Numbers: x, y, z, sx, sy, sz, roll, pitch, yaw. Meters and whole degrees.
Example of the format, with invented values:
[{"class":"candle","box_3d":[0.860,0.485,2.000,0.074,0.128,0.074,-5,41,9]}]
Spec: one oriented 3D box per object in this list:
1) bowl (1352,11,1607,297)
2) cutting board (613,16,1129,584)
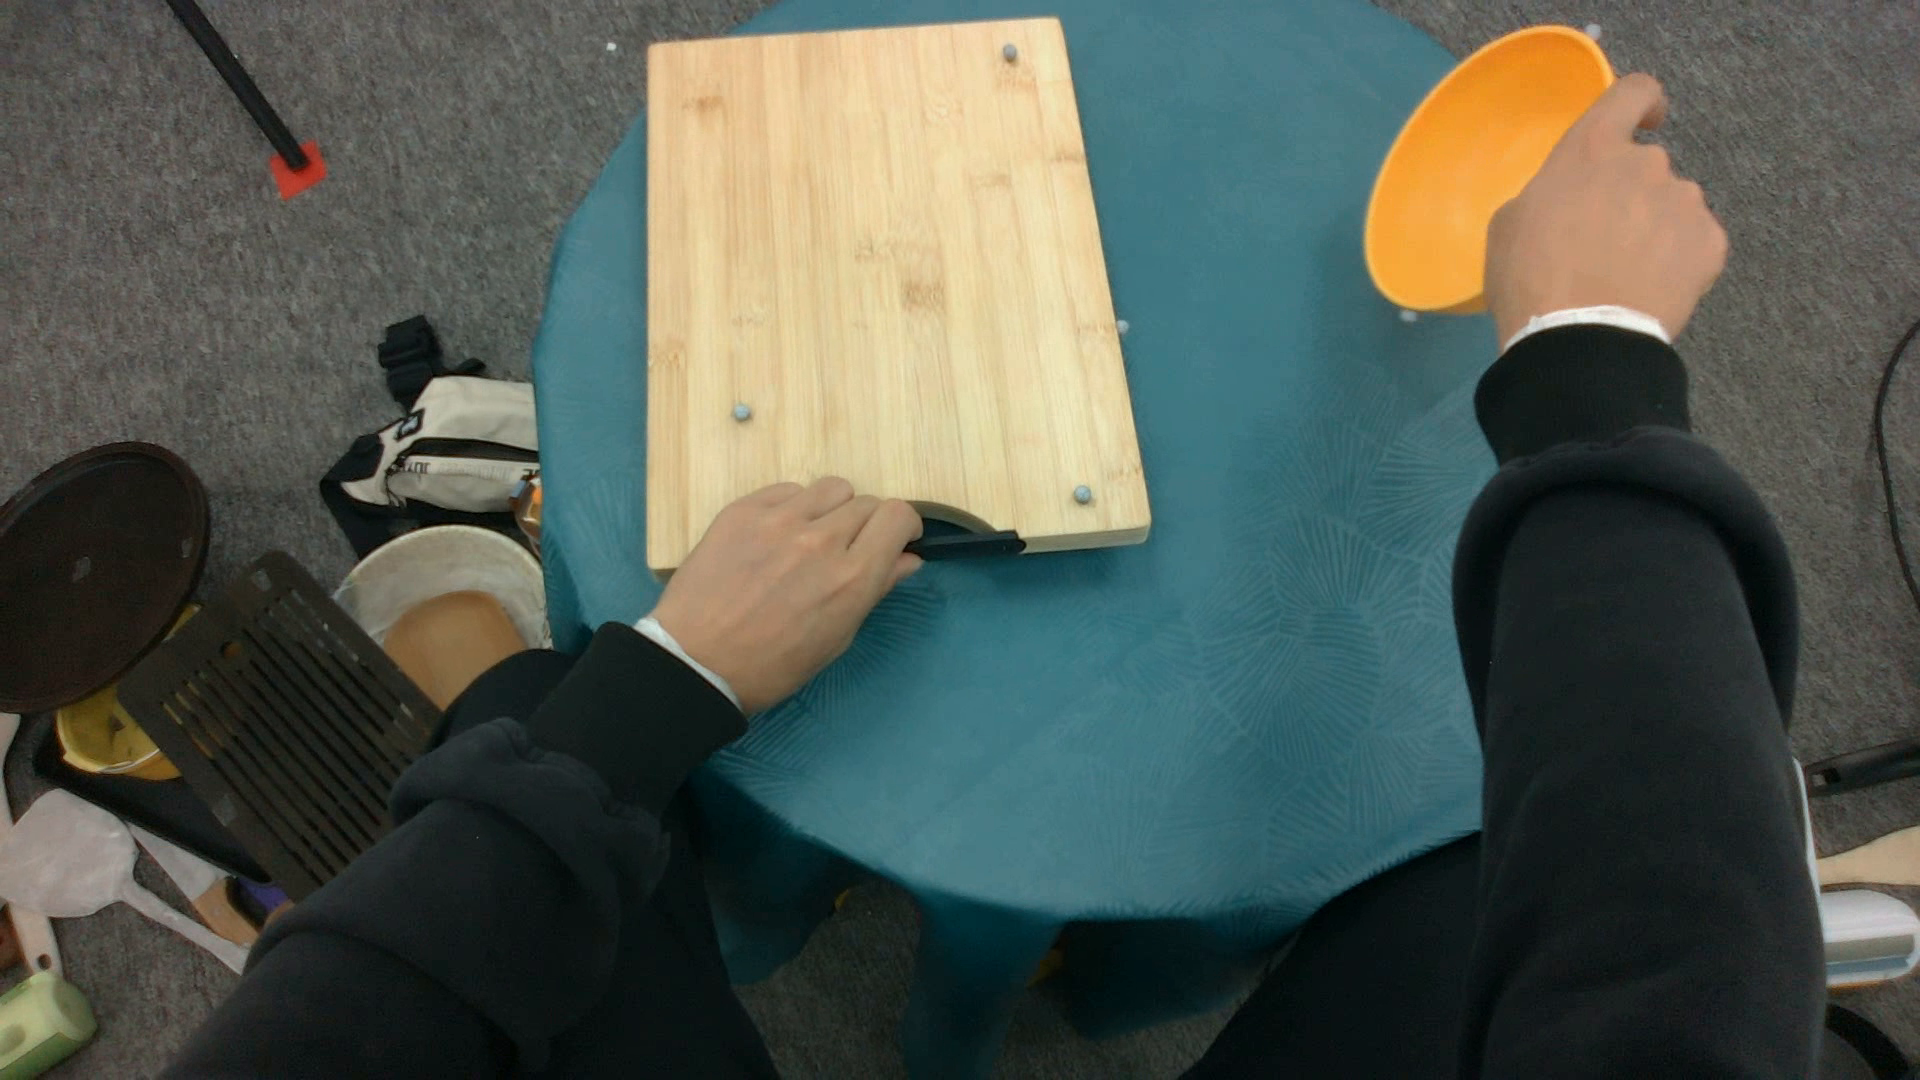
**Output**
[{"class":"bowl","box_3d":[0.264,-0.178,0.677,0.060,0.144,0.146,21,66,-22]},{"class":"cutting board","box_3d":[-0.058,-0.145,0.728,0.251,0.023,0.350,-6,63,-4]}]
